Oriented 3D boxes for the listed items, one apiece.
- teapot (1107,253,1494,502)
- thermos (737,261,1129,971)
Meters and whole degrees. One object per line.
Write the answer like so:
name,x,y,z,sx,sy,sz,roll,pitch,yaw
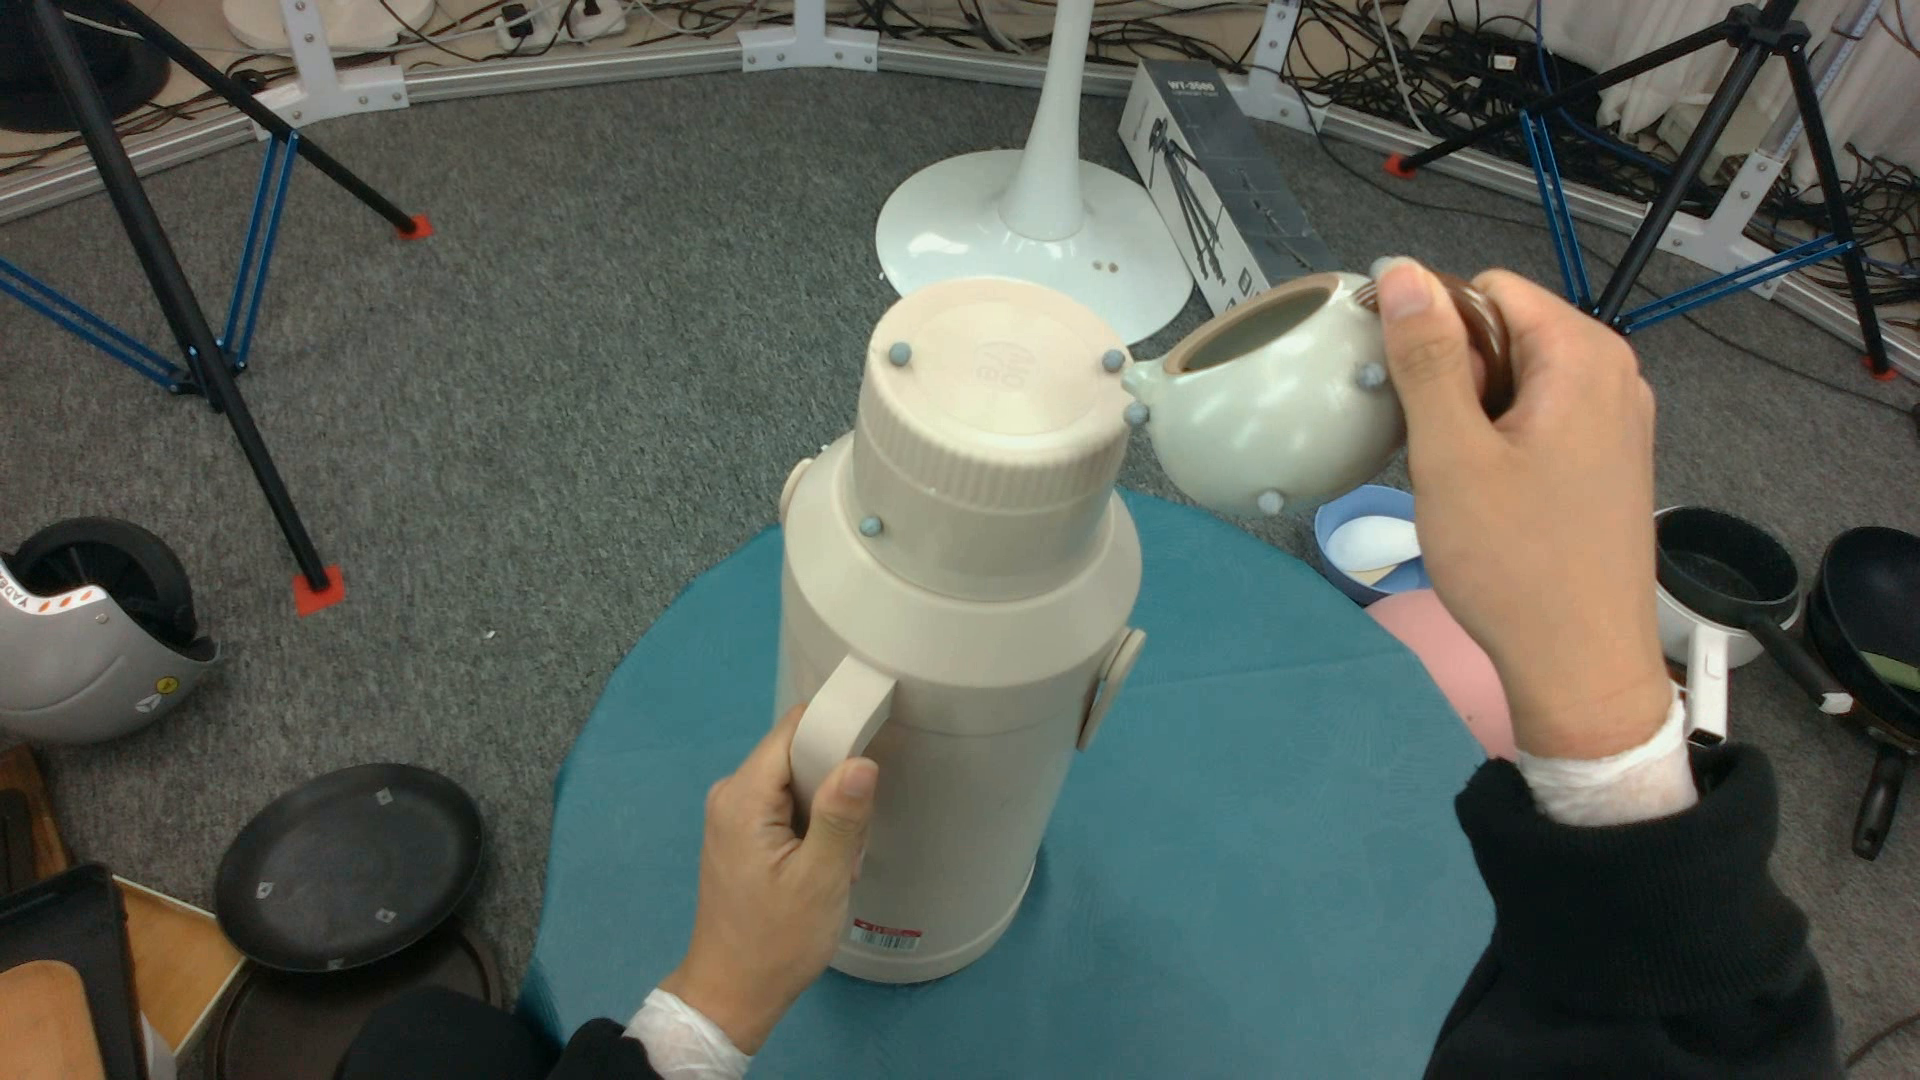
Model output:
teapot,0.109,-0.054,0.447,0.092,0.127,0.059,-44,110,-45
thermos,-0.028,0.063,0.659,0.175,0.404,0.208,28,50,10
